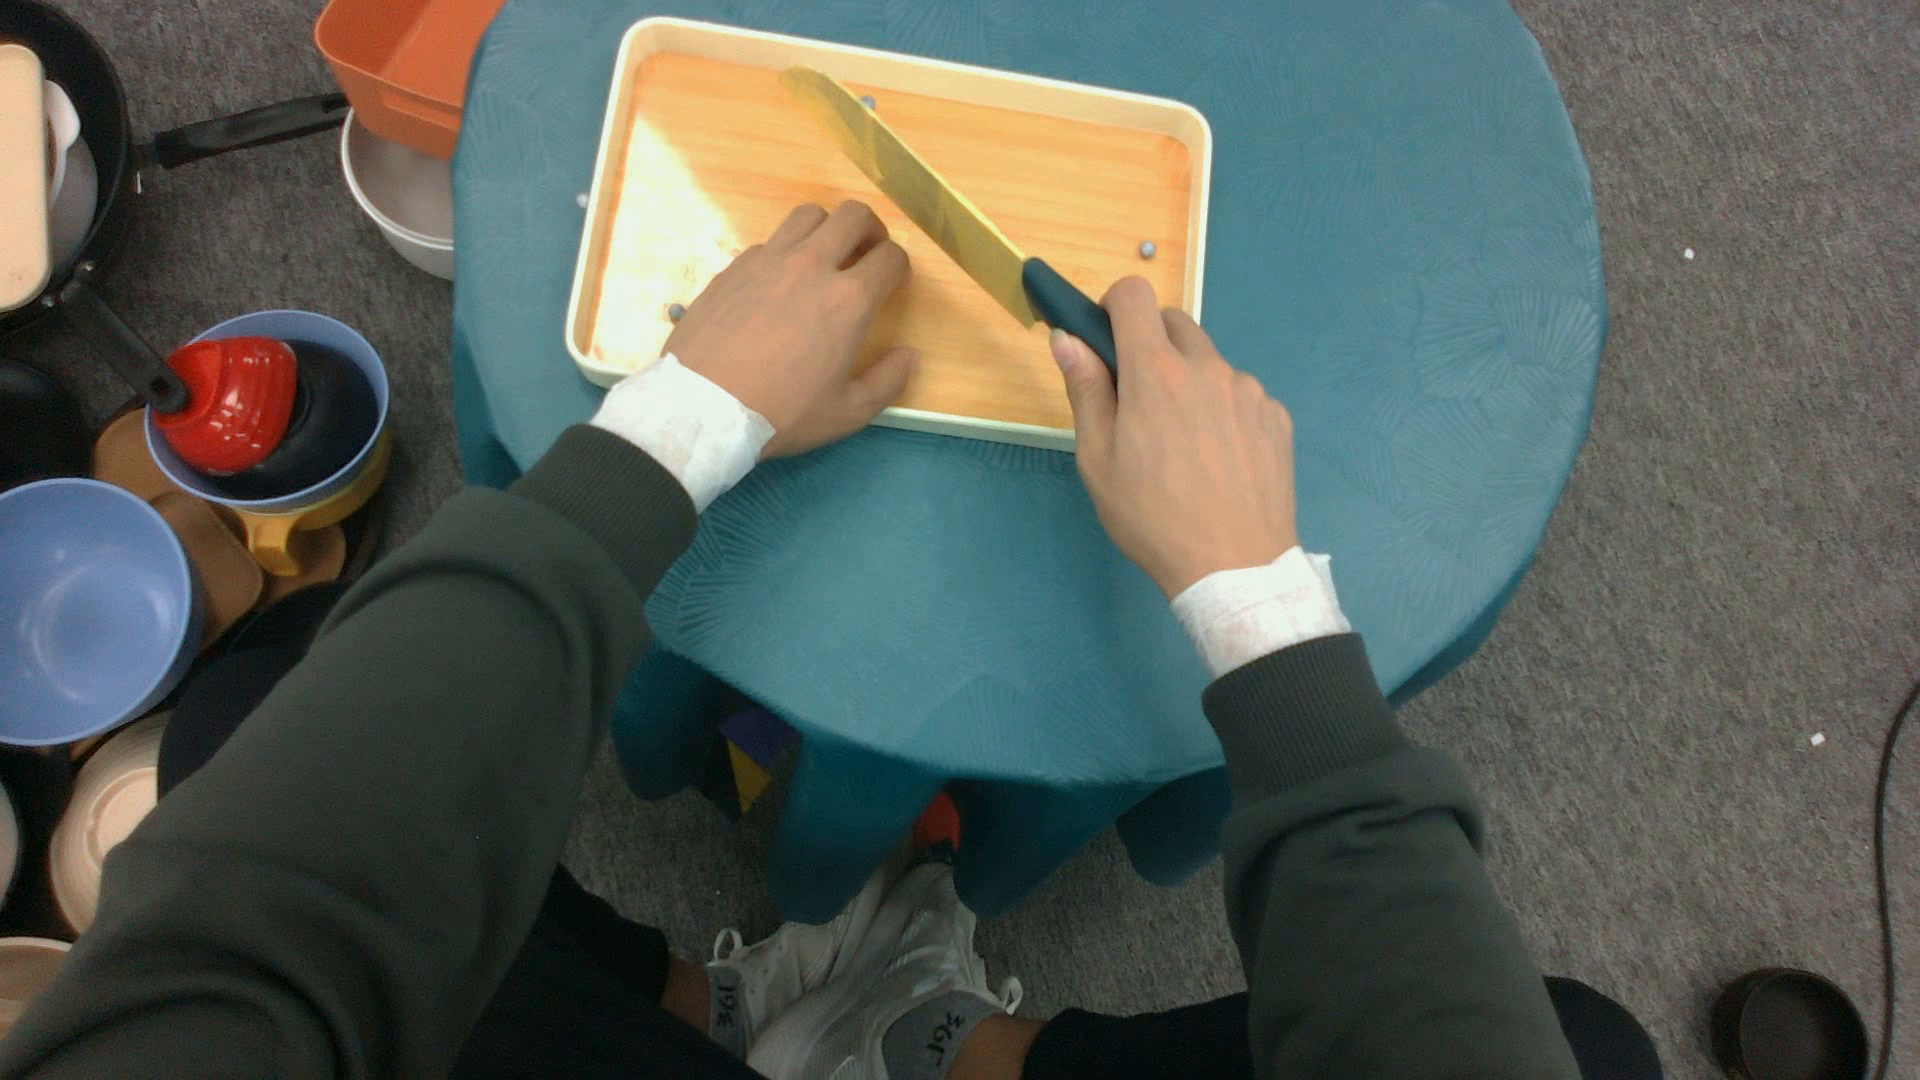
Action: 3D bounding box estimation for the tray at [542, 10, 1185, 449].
[{"bbox_3d":[-0.040,-0.154,0.683,0.300,0.027,0.192,7,75,-6],"label":"tray"}]

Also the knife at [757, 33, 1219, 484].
[{"bbox_3d":[0.007,-0.129,0.621,0.027,0.081,0.289,-44,84,-7],"label":"knife"}]
